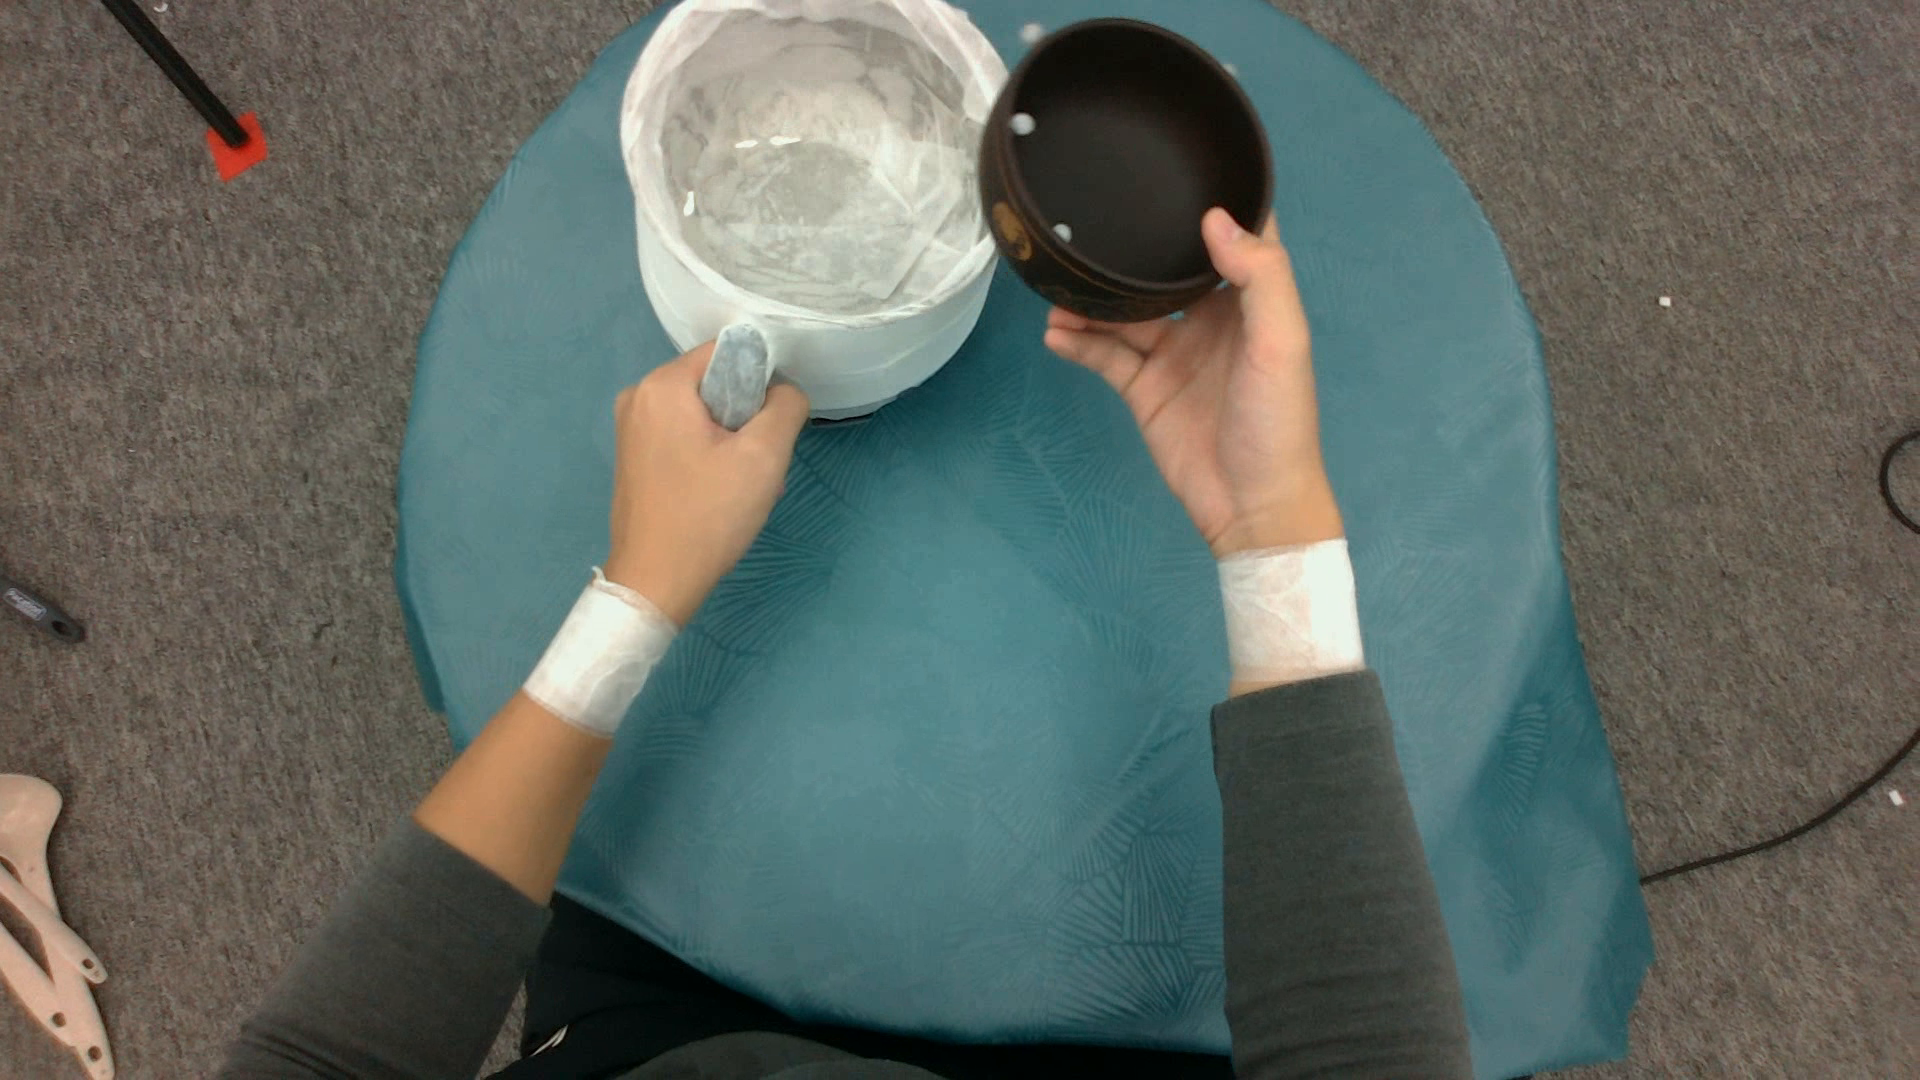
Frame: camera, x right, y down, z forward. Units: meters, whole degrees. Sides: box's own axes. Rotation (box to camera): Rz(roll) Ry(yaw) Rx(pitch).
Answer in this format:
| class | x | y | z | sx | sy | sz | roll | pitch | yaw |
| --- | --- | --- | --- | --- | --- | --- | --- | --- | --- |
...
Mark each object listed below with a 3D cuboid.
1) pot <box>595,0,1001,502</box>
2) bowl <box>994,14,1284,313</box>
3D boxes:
| class | x | y | z | sx | sy | sz | roll | pitch | yaw |
| --- | --- | --- | --- | --- | --- | --- | --- | --- | --- |
| pot | -0.084 | -0.136 | 0.651 | 0.179 | 0.136 | 0.234 | 18 | 73 | -3 |
| bowl | 0.069 | -0.151 | 0.580 | 0.118 | 0.069 | 0.118 | 2 | 82 | -18 |
